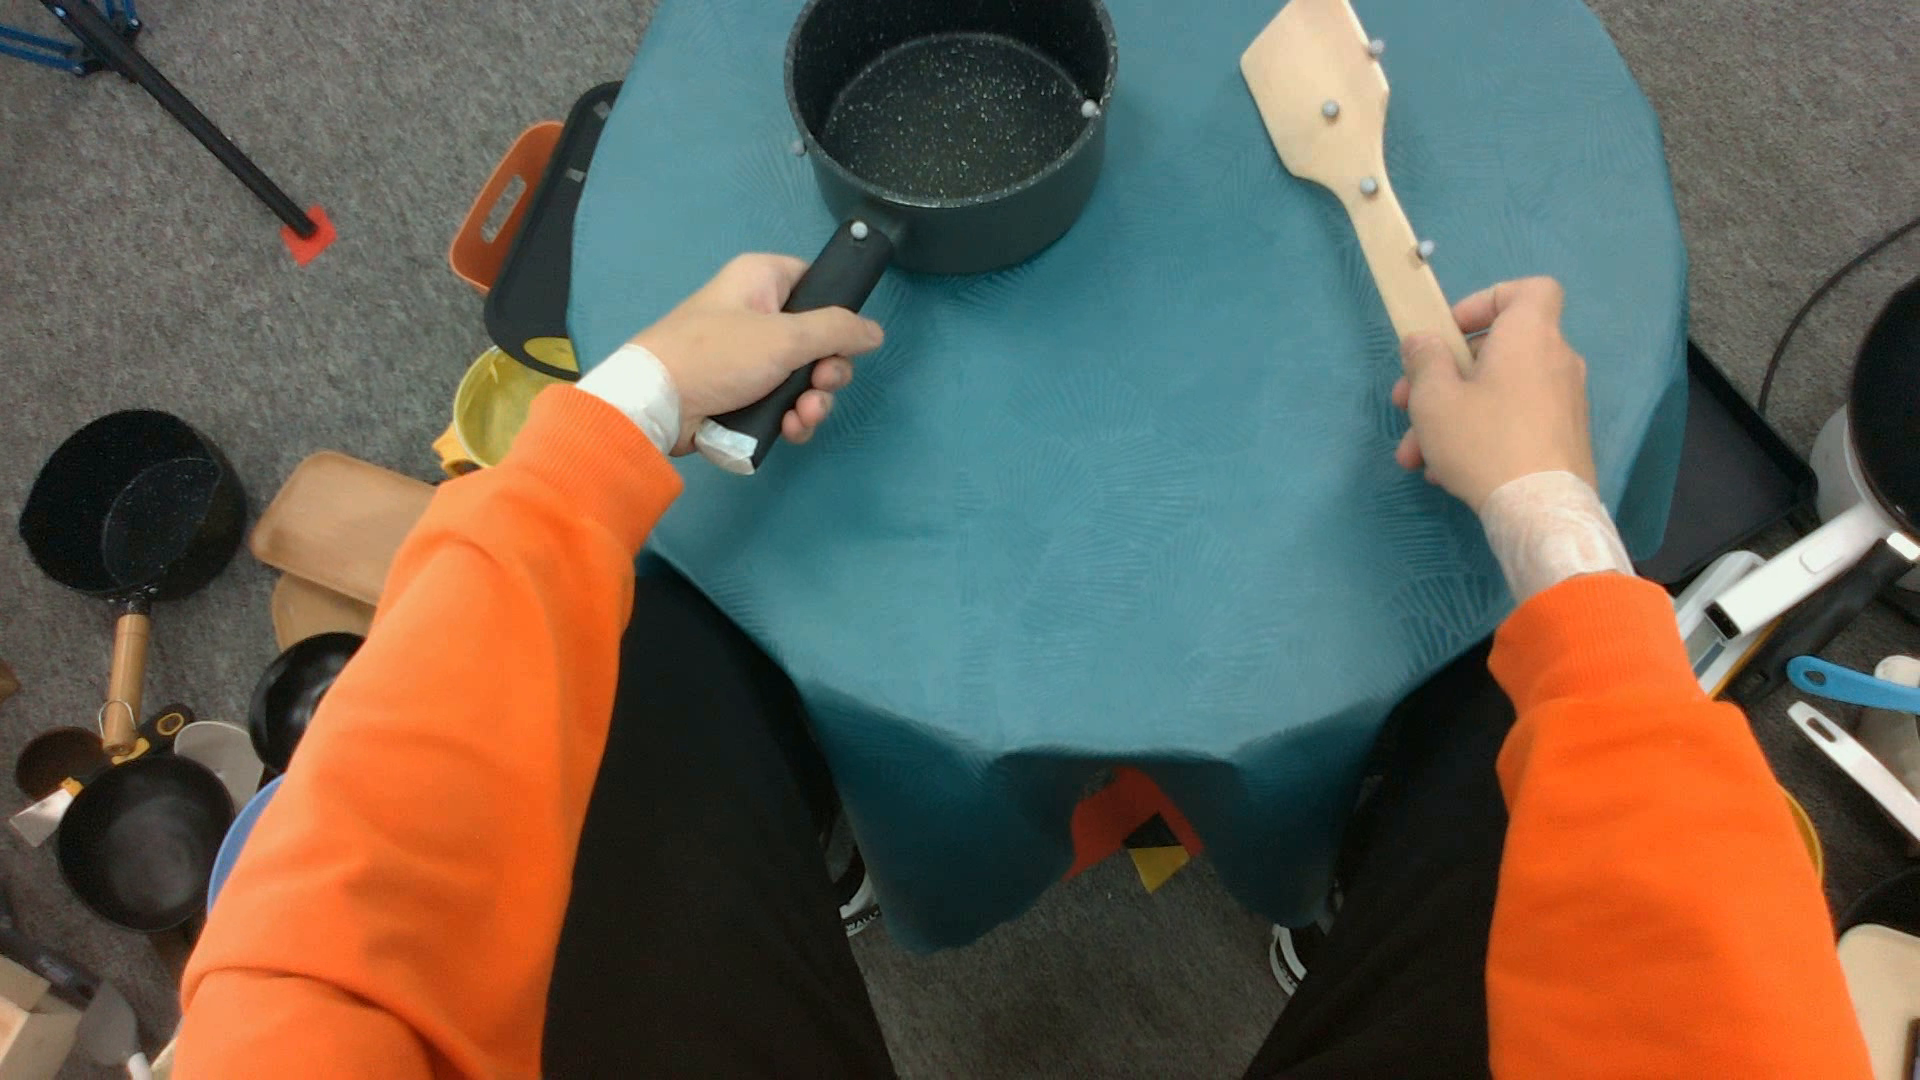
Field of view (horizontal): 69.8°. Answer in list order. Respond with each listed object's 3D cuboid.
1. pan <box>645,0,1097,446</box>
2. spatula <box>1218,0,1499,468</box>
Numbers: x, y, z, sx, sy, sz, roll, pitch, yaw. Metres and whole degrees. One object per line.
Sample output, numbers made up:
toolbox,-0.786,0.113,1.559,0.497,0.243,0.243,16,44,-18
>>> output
pan,-0.052,-0.173,0.708,0.172,0.086,0.330,26,71,11
spatula,0.205,-0.165,0.696,0.072,0.010,0.294,-35,59,35
